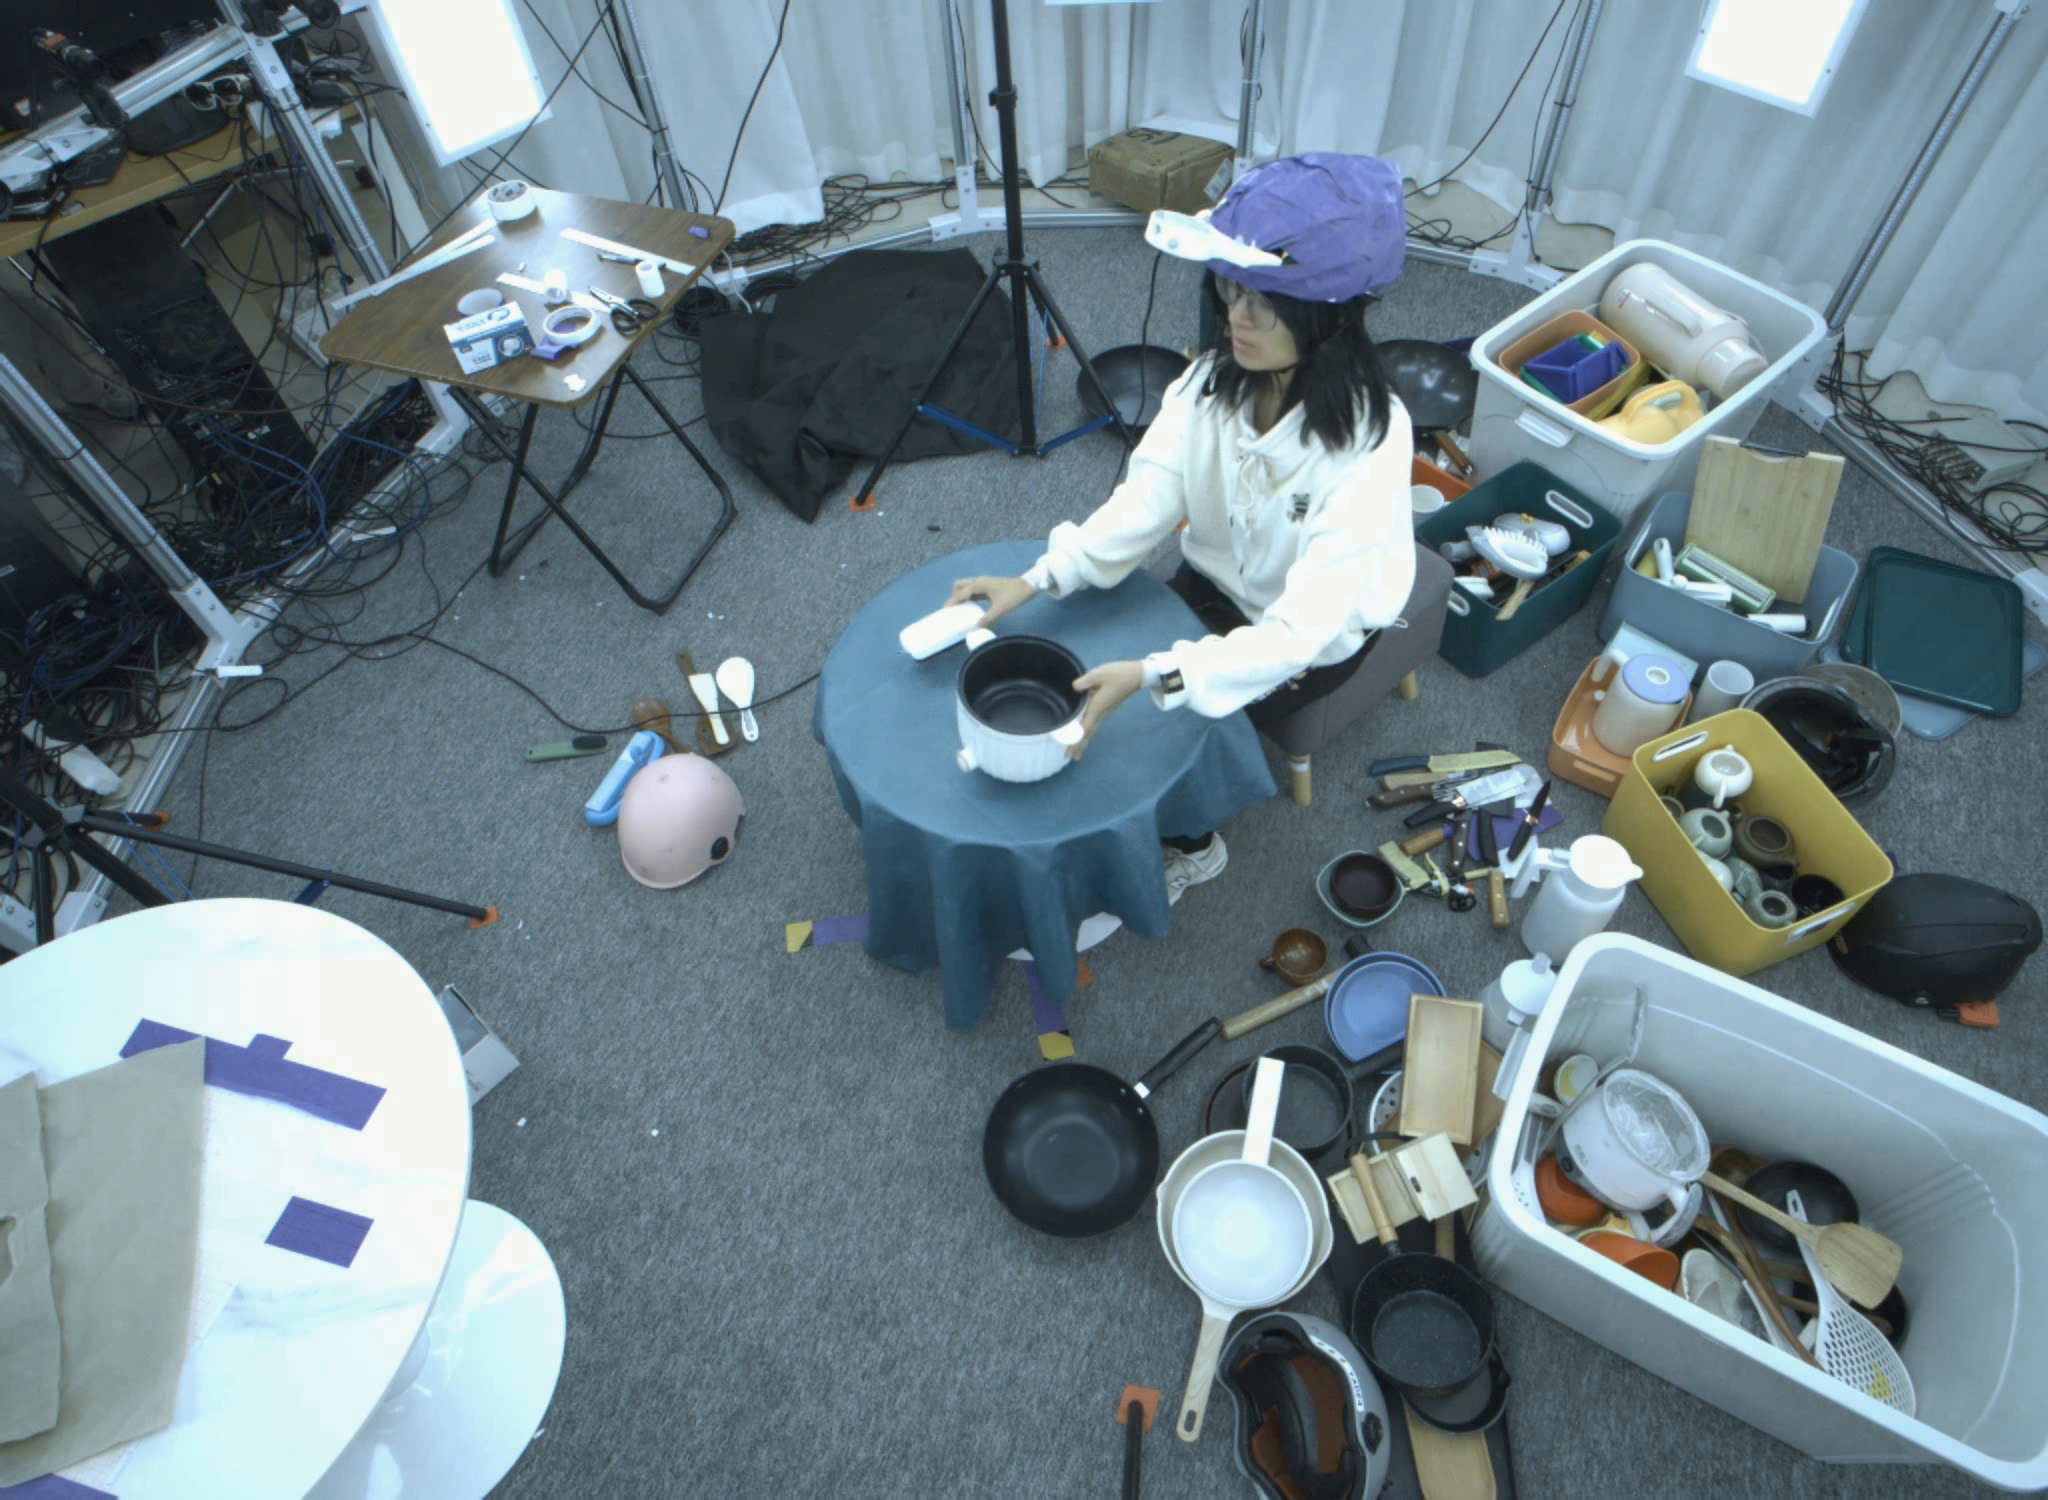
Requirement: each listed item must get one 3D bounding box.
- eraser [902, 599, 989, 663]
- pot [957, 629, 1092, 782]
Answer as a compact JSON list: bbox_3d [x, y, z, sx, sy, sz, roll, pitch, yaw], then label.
[{"bbox_3d":[-0.117,-0.181,1.851,0.132,0.035,0.062,-28,51,-15],"label":"eraser"},{"bbox_3d":[-0.007,-0.049,1.710,0.193,0.143,0.236,-29,59,-27],"label":"pot"}]
